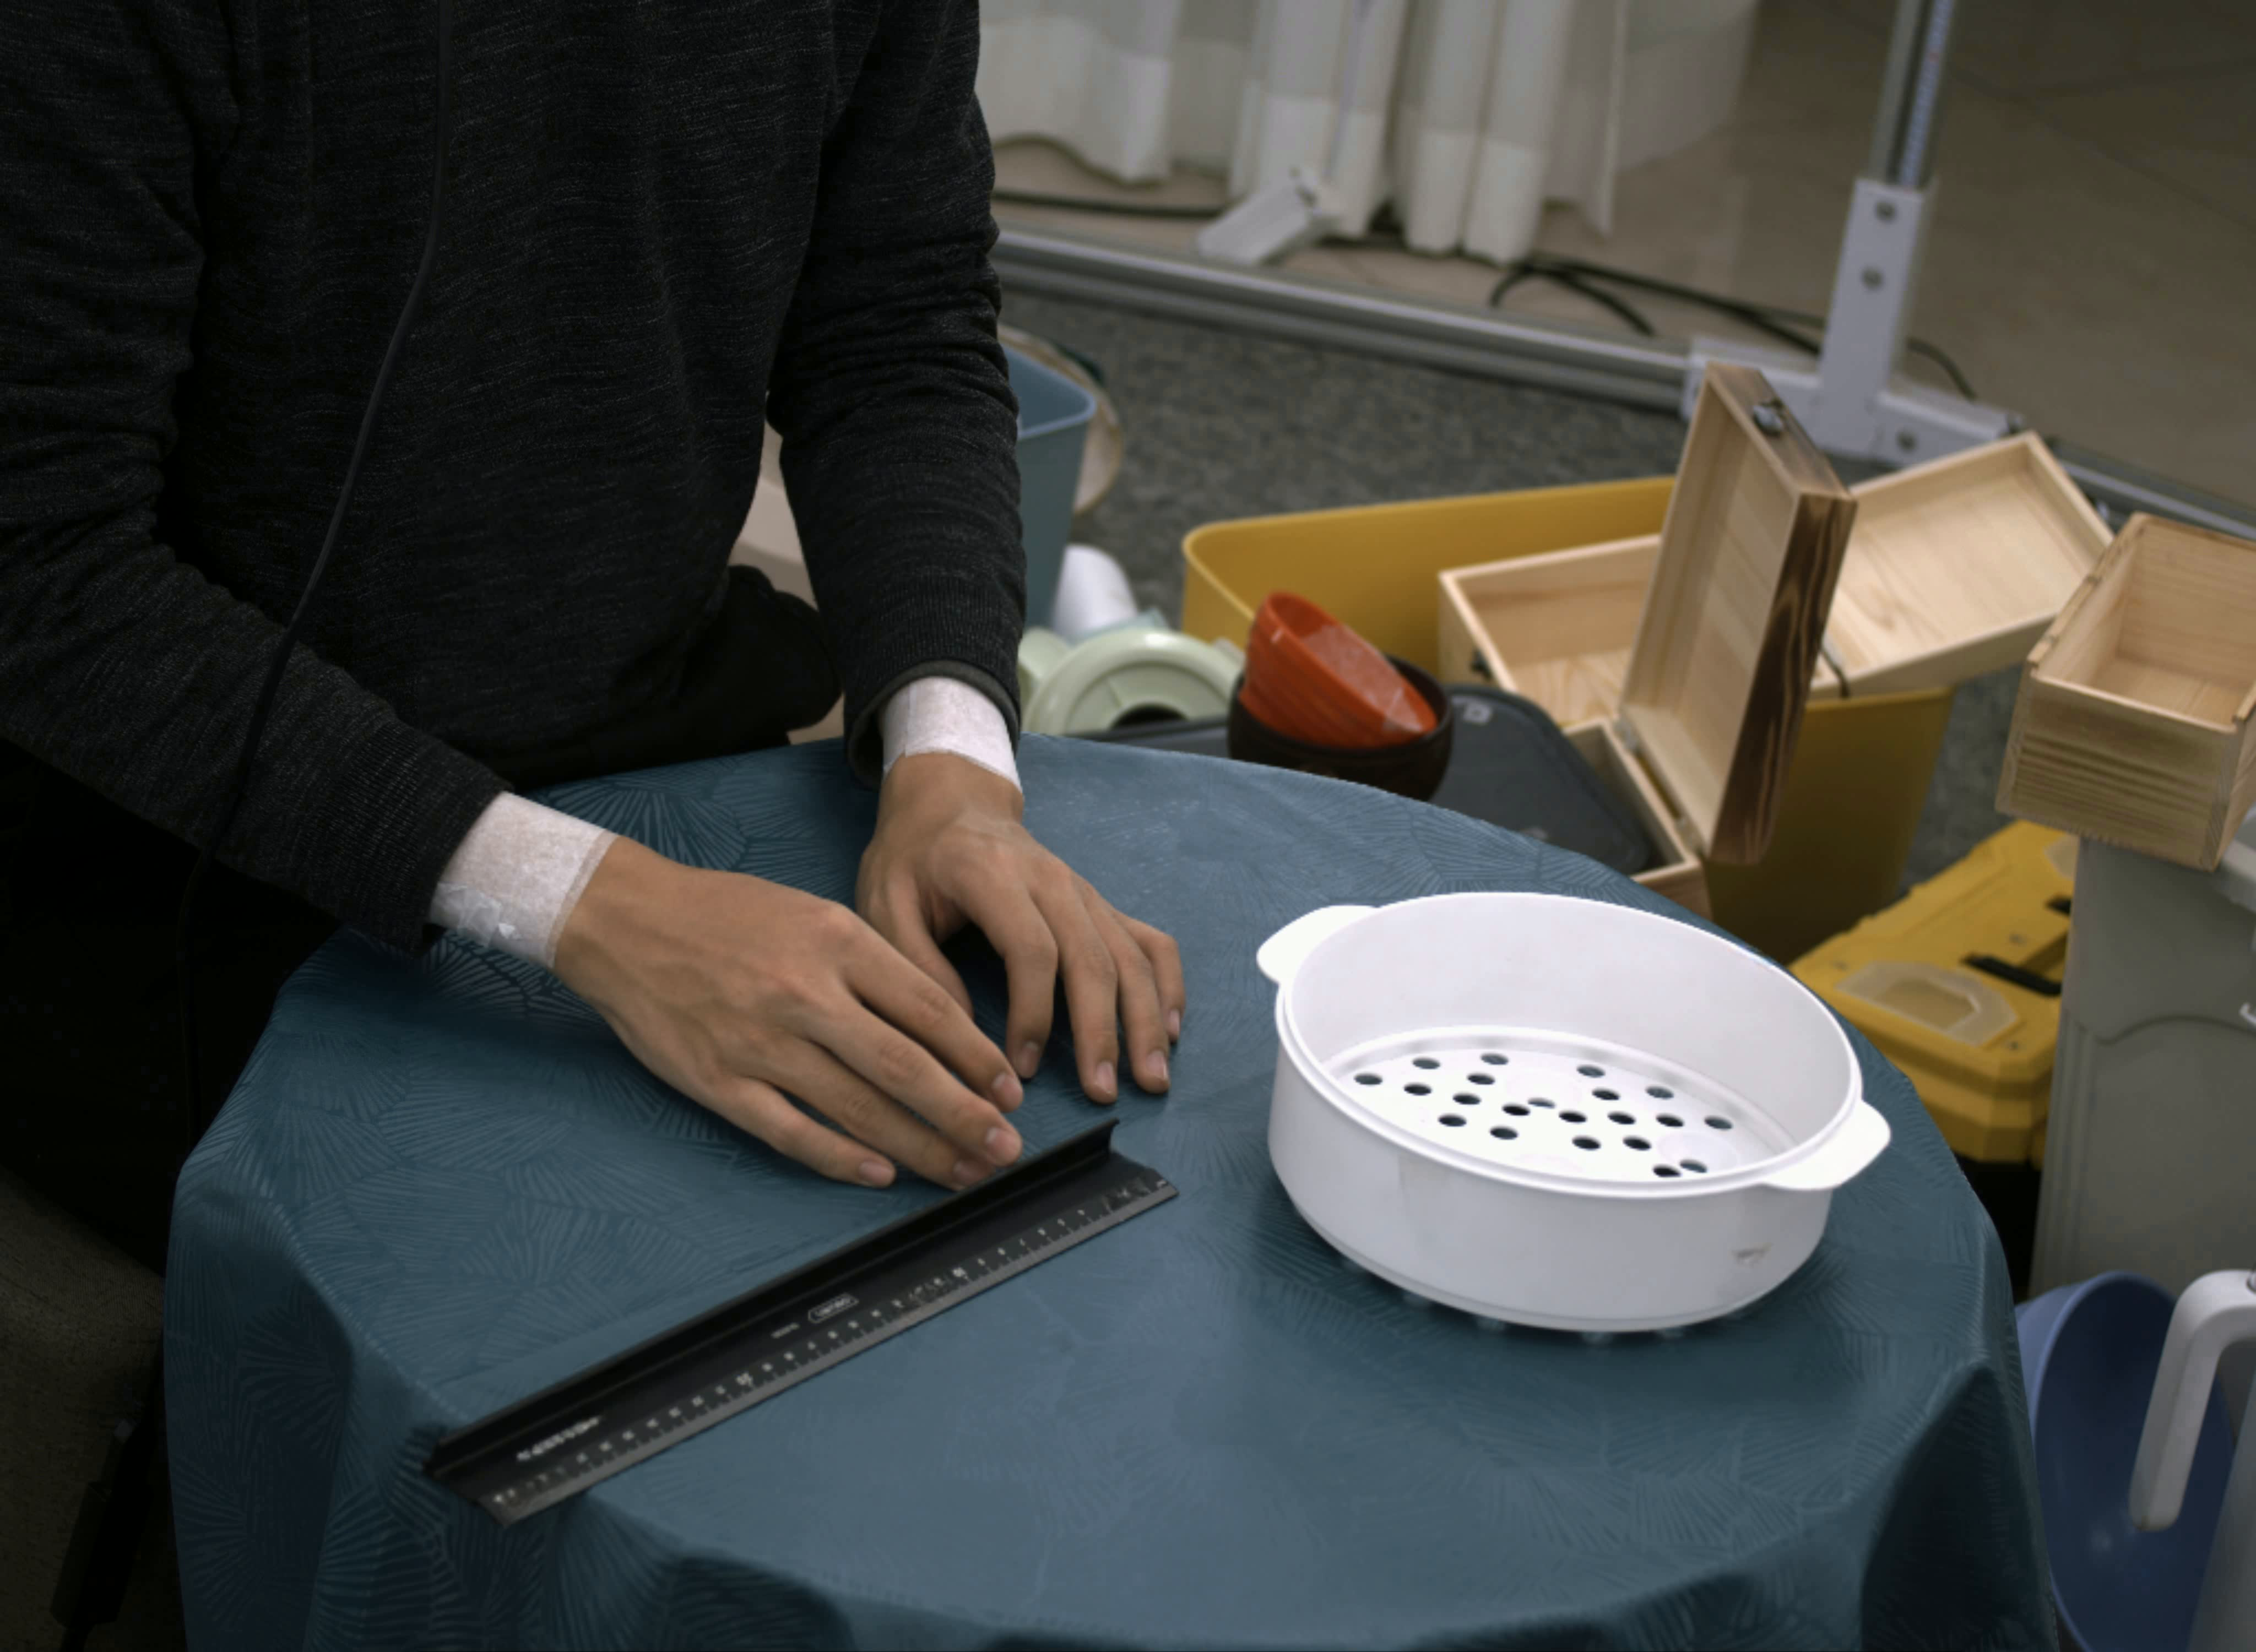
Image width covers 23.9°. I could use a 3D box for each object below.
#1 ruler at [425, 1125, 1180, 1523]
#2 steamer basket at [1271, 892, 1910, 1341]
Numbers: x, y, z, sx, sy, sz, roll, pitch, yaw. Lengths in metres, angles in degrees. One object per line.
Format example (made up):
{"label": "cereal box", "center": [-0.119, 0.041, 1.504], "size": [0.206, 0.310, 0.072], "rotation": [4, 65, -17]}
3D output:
{"label": "ruler", "center": [-0.097, 0.155, 1.702], "size": [0.039, 0.017, 0.311], "rotation": [30, 35, 33]}
{"label": "steamer basket", "center": [0.150, 0.099, 1.808], "size": [0.232, 0.069, 0.201], "rotation": [24, 31, 26]}
